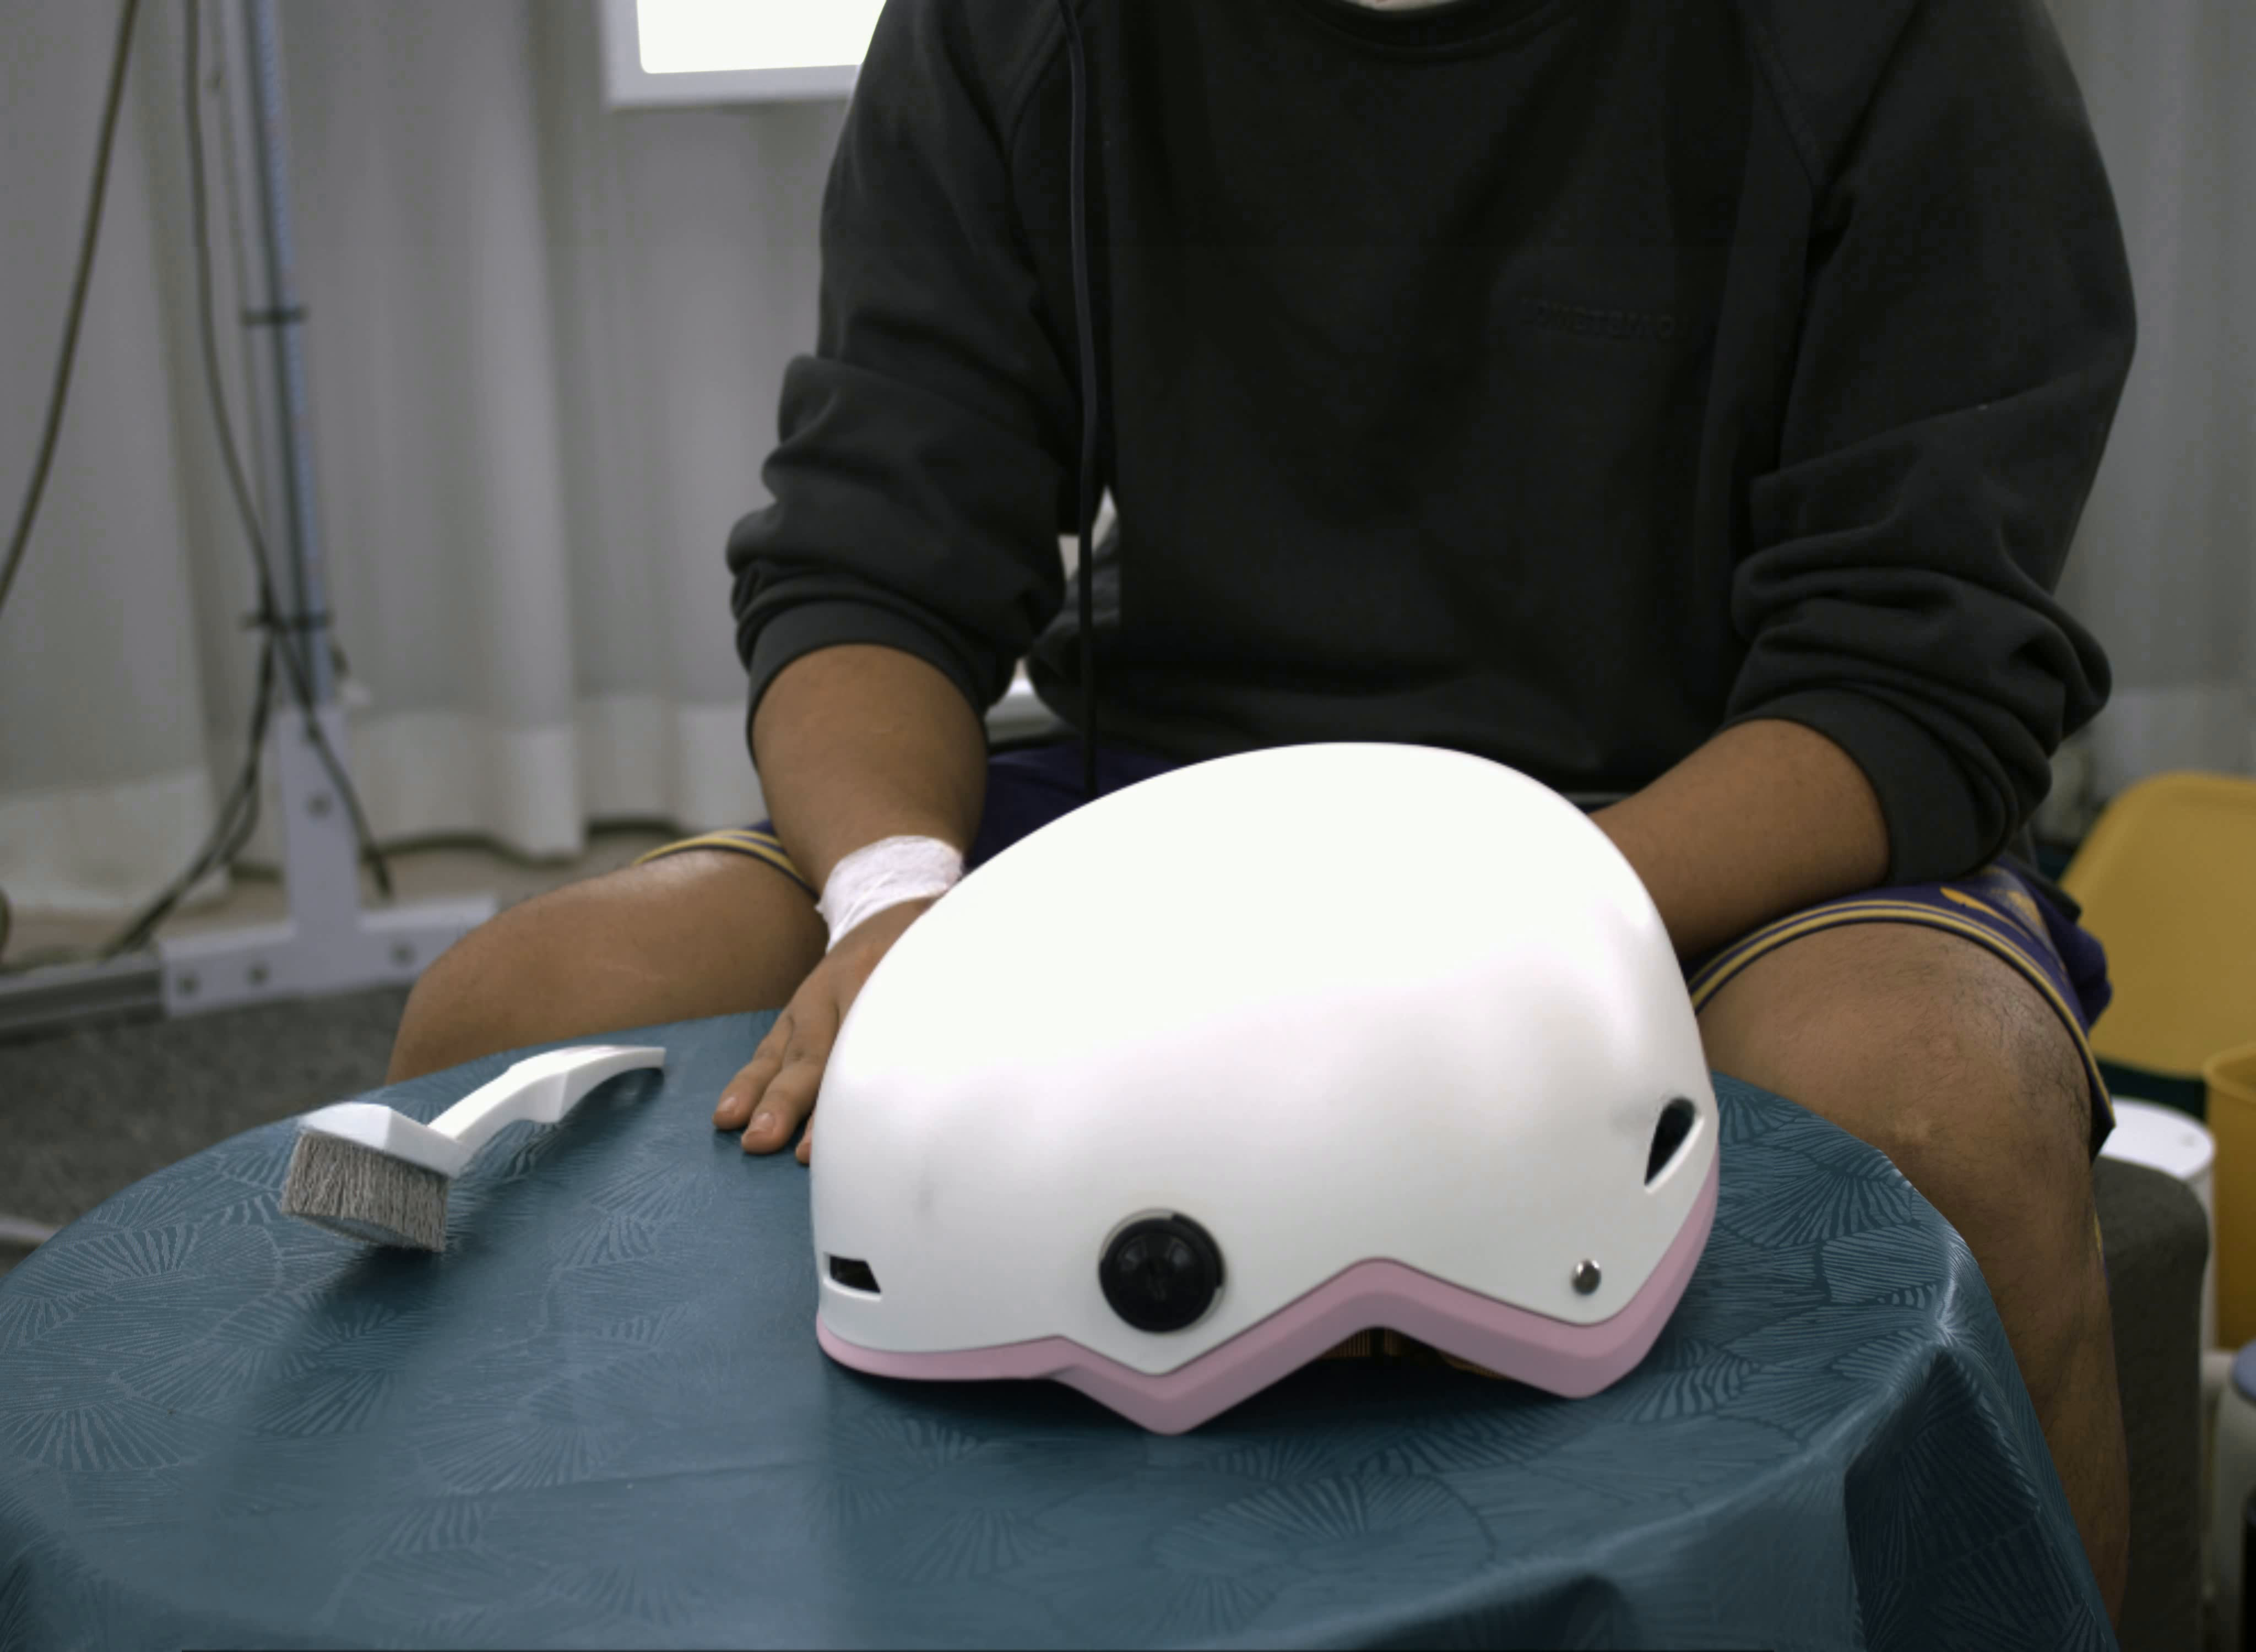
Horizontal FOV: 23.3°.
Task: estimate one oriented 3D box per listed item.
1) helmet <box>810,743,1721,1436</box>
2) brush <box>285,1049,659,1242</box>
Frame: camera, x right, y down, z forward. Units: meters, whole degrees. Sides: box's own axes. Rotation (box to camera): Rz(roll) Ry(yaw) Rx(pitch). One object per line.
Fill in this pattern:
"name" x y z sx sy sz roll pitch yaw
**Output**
"helmet" 0.037 0.063 1.589 0.268 0.166 0.238 -2 15 5
"brush" -0.205 0.102 1.759 0.034 0.050 0.243 1 2 17
